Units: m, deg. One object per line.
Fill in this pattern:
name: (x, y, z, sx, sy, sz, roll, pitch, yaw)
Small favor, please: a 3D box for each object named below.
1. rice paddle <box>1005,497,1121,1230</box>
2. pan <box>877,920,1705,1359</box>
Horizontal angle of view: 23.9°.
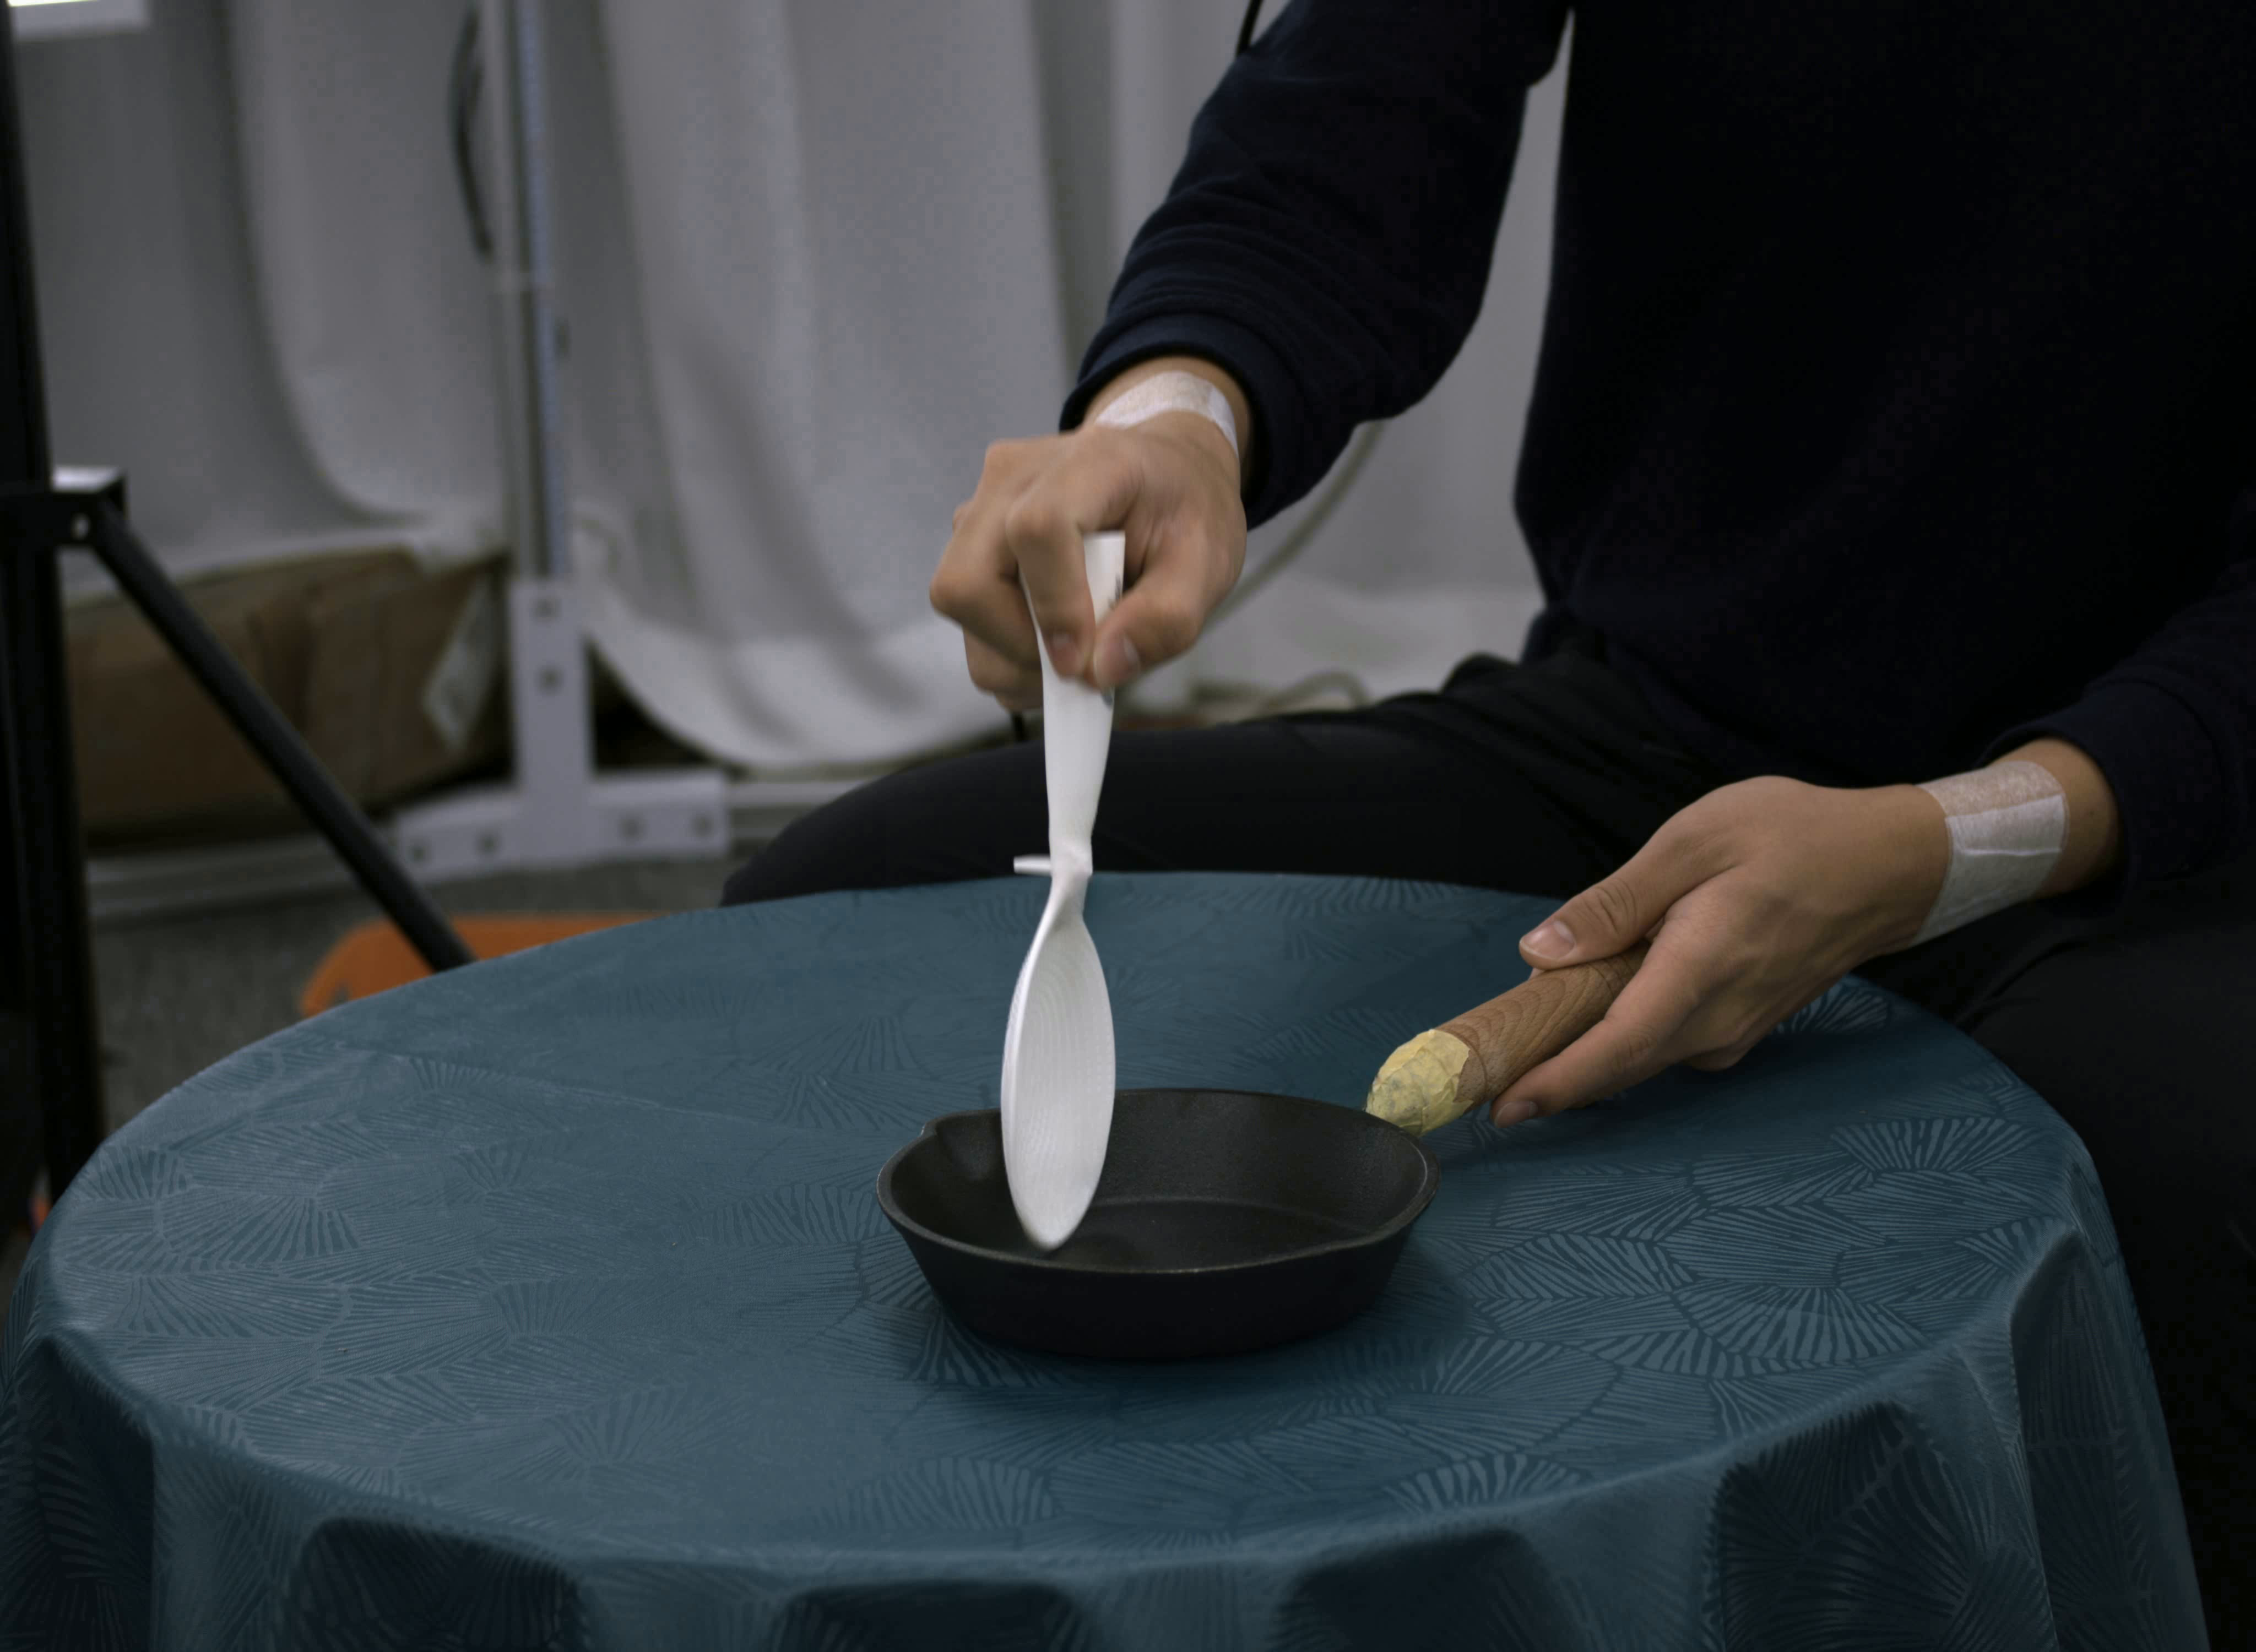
rice paddle: (-0.017, 0.012, 1.489, 0.030, 0.206, 0.067, 1, 4, 26)
pan: (0.067, 0.086, 1.531, 0.173, 0.049, 0.317, 13, 22, 43)
